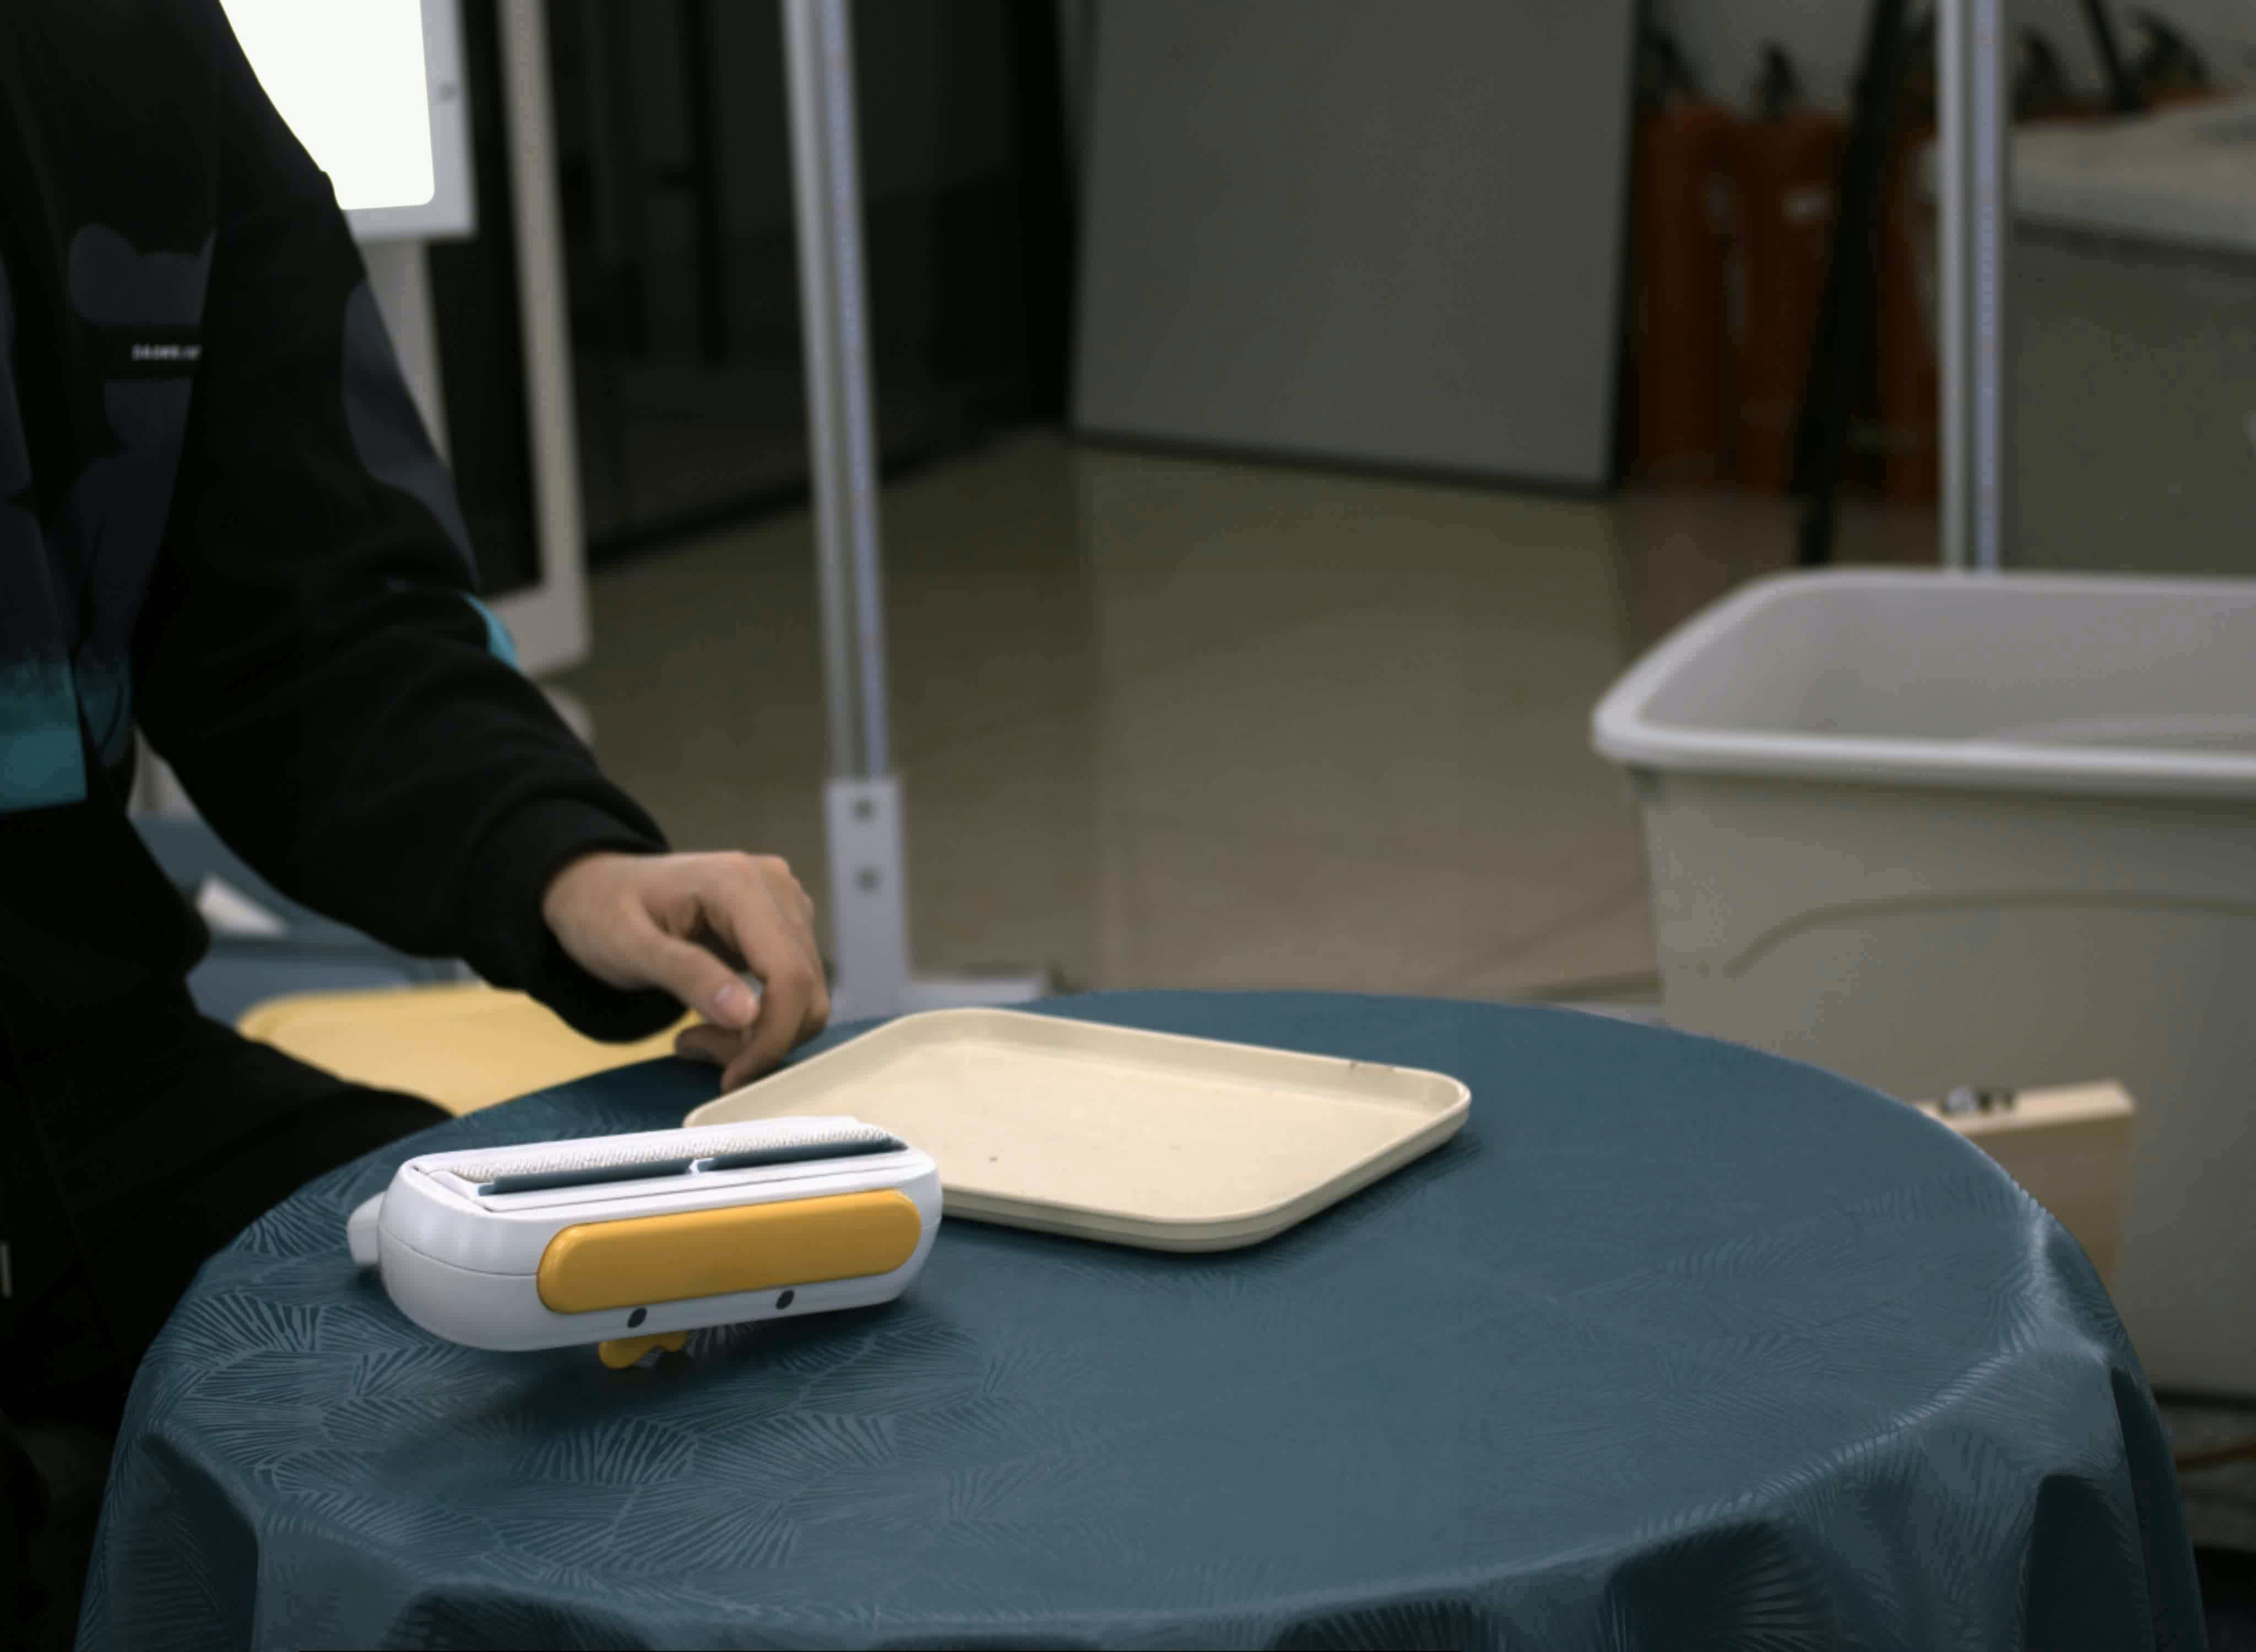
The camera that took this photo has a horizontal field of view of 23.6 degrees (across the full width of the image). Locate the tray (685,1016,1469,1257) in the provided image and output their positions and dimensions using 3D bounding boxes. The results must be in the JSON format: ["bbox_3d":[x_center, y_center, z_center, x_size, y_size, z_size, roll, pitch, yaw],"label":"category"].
[{"bbox_3d":[-0.017,0.103,1.812,0.241,0.017,0.168,6,18,36],"label":"tray"}]

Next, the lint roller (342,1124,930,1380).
[{"bbox_3d":[-0.181,0.123,1.676,0.188,0.075,0.194,-8,11,-37],"label":"lint roller"}]
